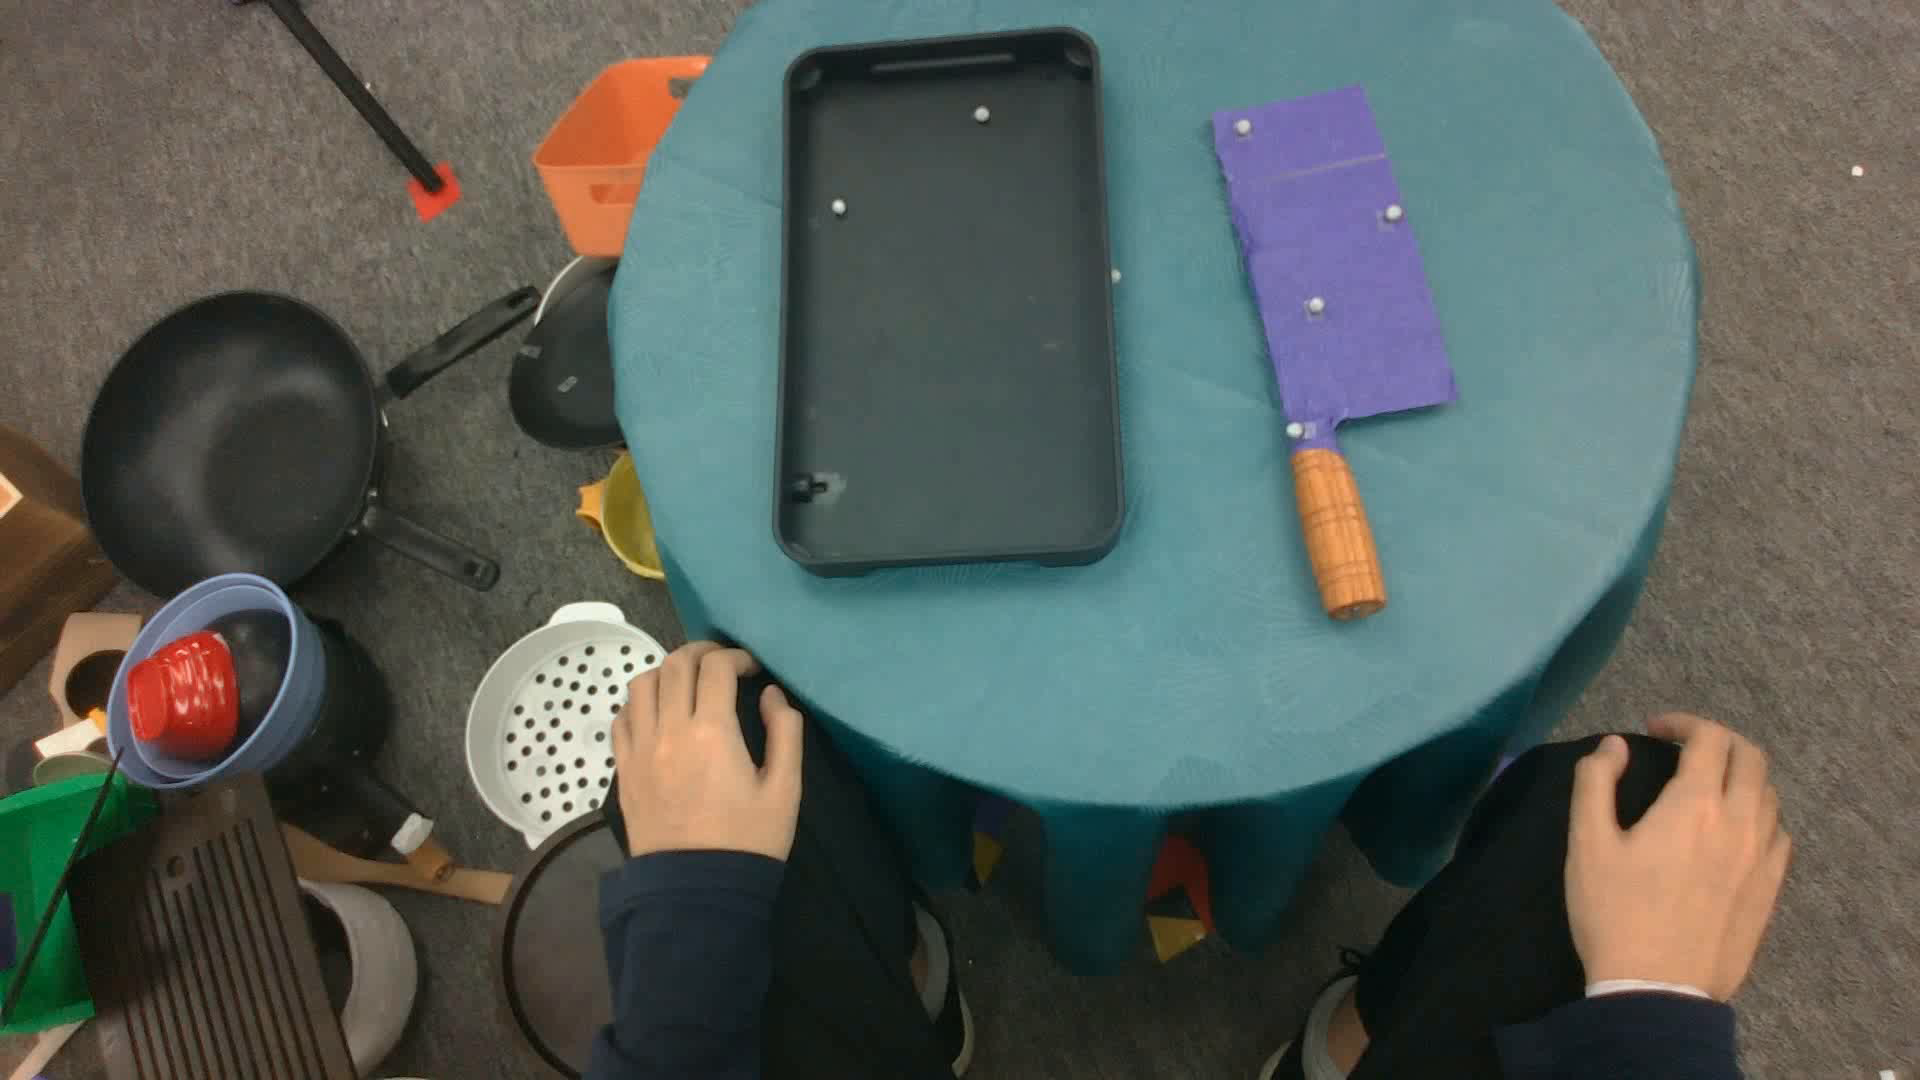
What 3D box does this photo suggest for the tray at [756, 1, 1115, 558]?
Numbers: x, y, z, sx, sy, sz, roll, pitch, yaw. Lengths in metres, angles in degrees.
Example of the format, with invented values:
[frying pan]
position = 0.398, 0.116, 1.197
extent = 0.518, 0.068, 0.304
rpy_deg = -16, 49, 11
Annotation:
[tray]
position = -0.018, -0.149, 0.764
extent = 0.184, 0.037, 0.319
rpy_deg = -4, 73, 4

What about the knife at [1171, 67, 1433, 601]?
[knife]
position = 0.197, -0.125, 0.739
extent = 0.104, 0.032, 0.316
rpy_deg = -11, 71, 2
